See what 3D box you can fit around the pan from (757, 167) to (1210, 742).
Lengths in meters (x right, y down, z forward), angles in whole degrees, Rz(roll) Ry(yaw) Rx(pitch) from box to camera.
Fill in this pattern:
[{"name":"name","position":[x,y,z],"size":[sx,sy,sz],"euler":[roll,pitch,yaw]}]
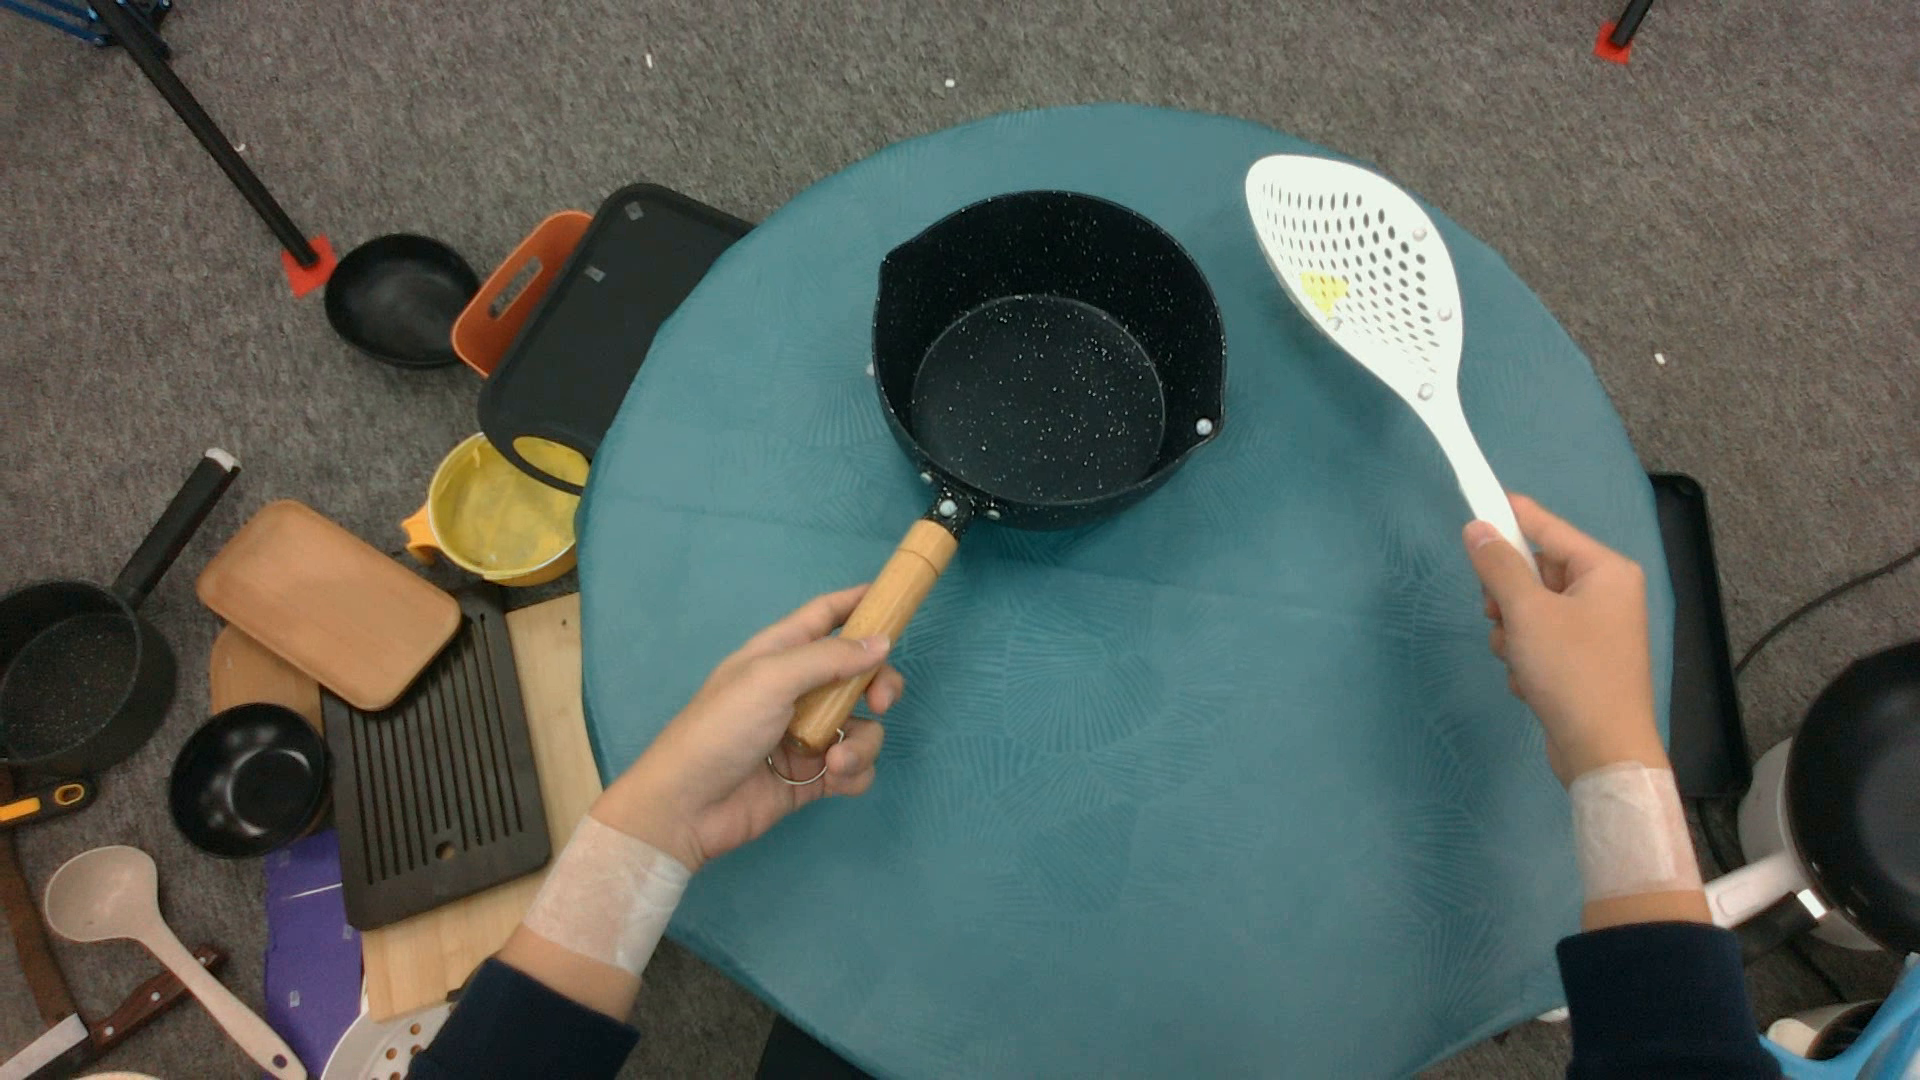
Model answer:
[{"name":"pan","position":[-0.001,-0.037,0.712],"size":[0.207,0.108,0.344],"euler":[27,70,7]}]

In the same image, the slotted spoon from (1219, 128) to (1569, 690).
[{"name":"slotted spoon","position":[0.235,-0.083,0.728],"size":[0.137,0.050,0.349],"euler":[-5,57,-27]}]
